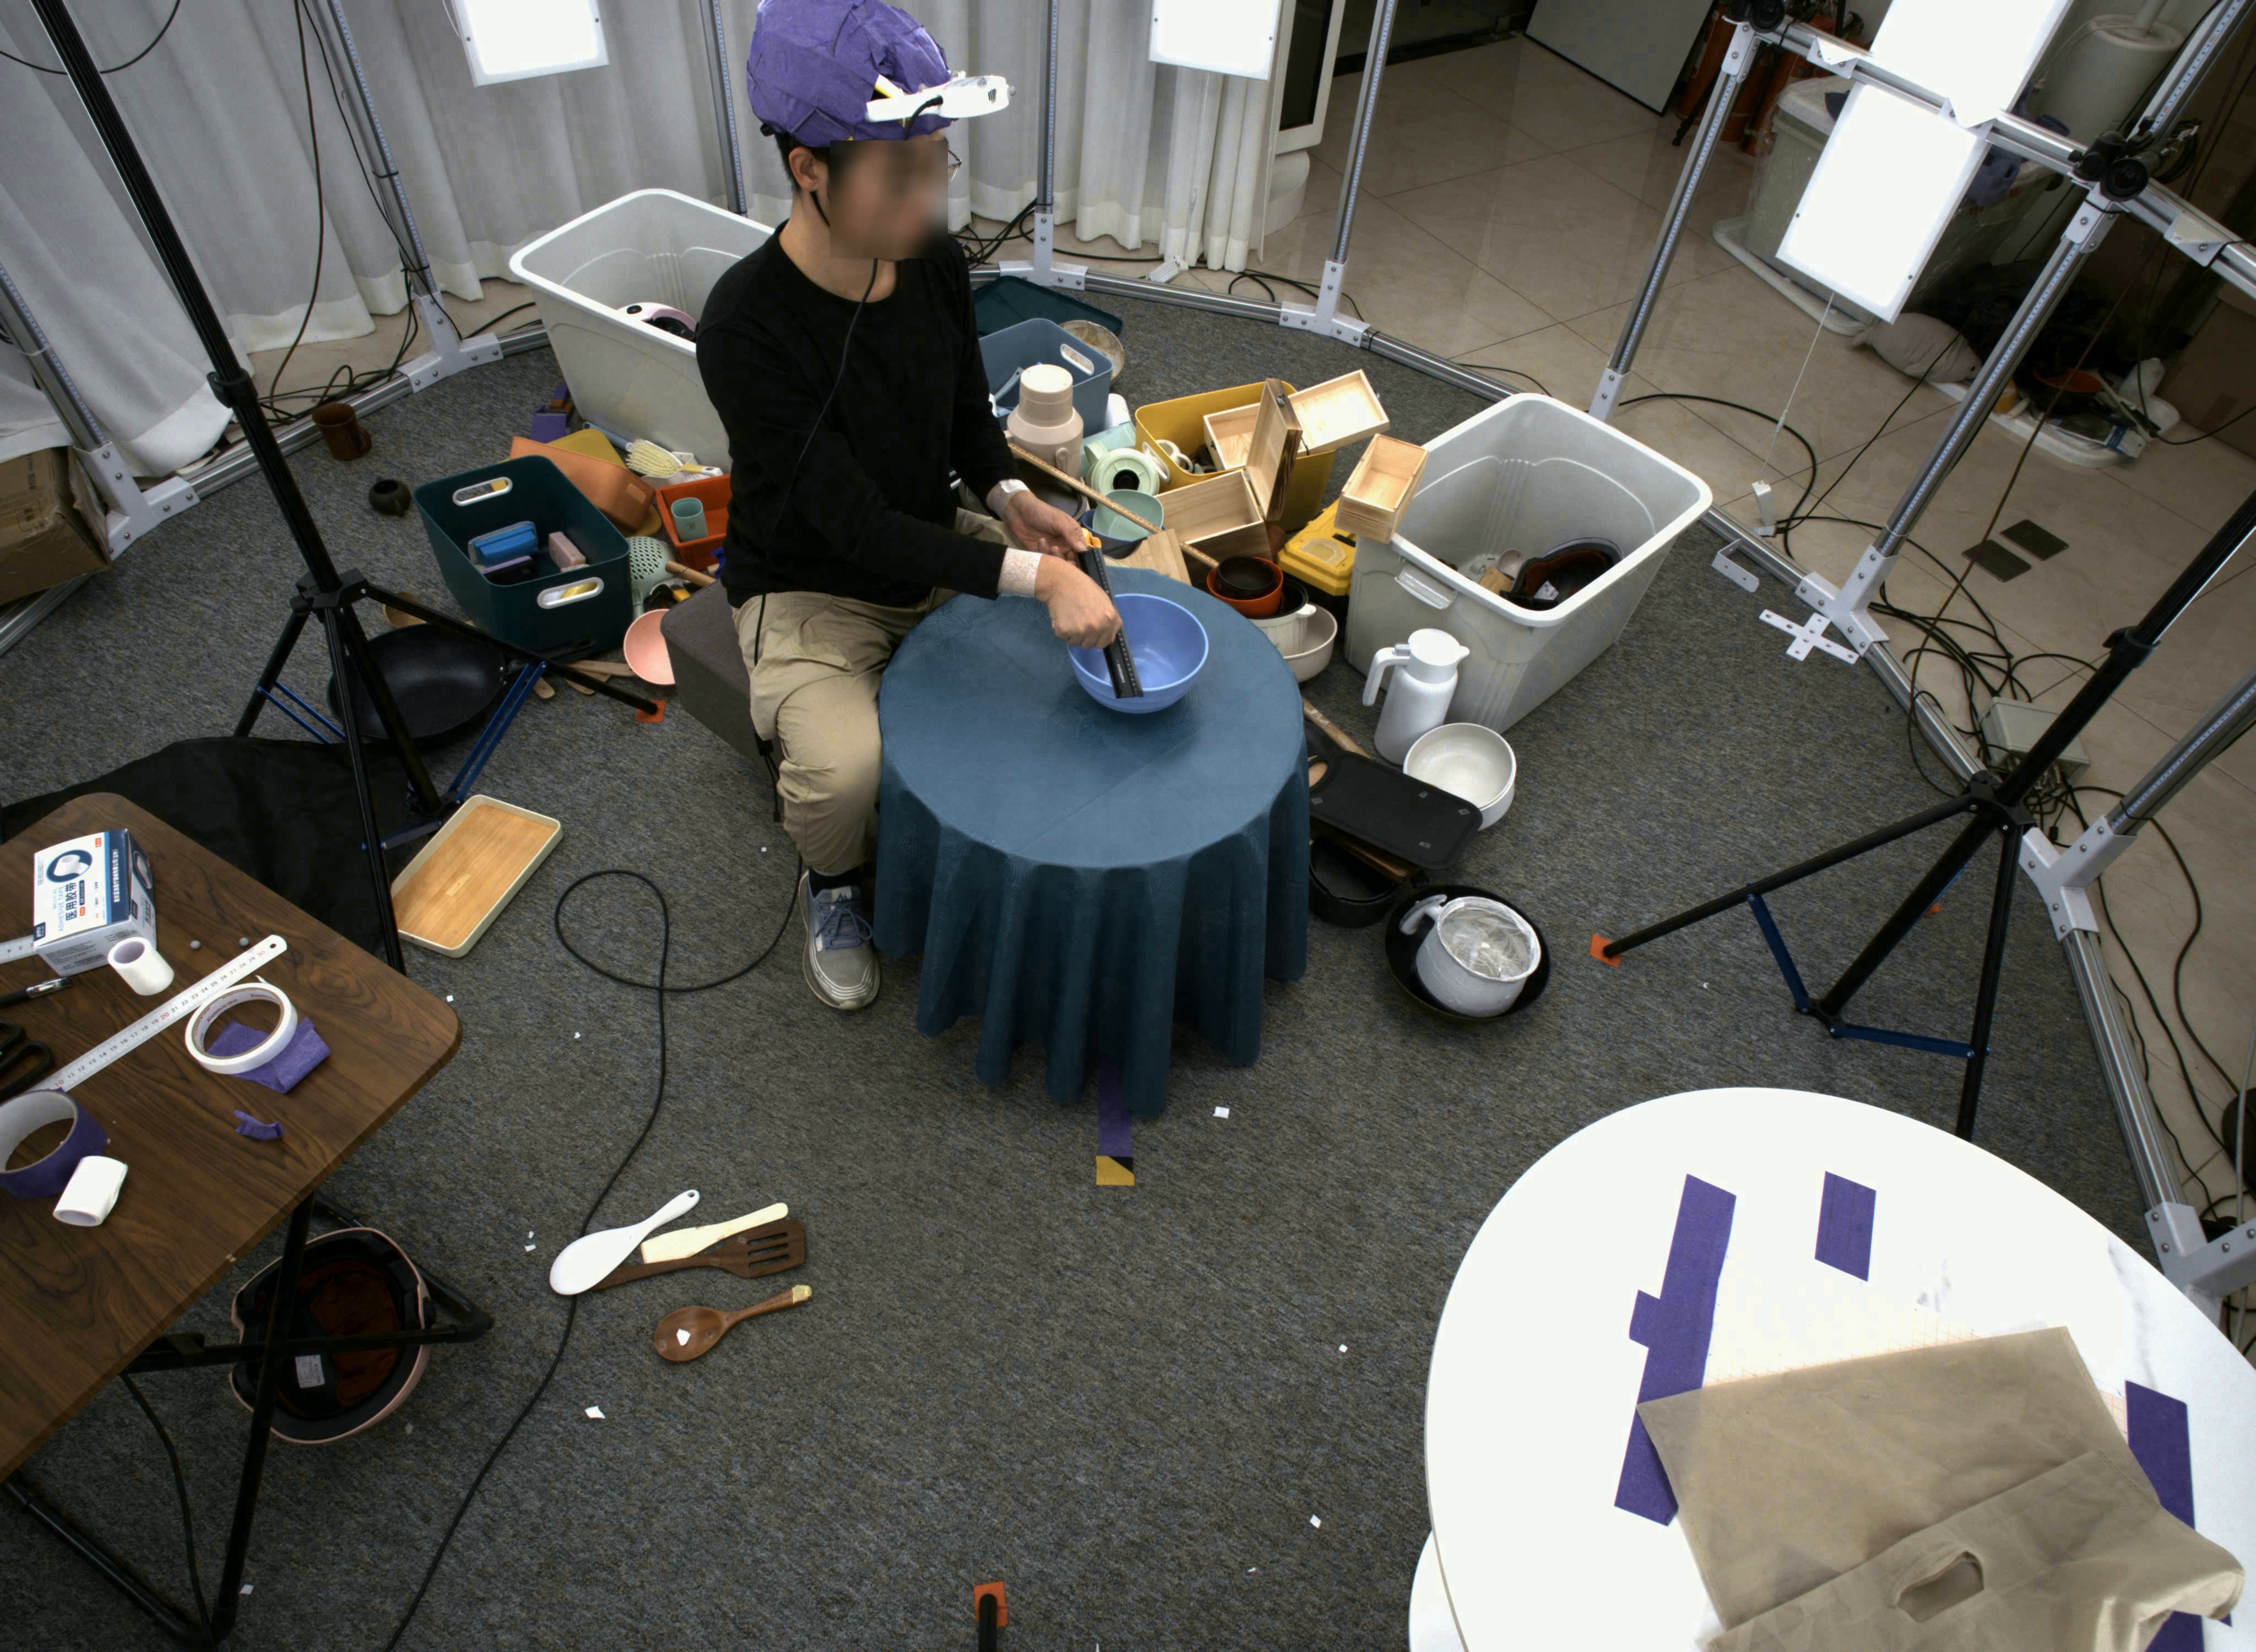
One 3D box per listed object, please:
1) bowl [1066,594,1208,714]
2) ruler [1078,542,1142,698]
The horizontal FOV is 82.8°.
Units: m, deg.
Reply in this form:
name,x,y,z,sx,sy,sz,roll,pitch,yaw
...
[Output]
name,x,y,z,sx,sy,sz,roll,pitch,yaw
bowl,0.010,-0.227,1.806,0.196,0.093,0.201,2,49,-3
ruler,-0.026,-0.293,1.791,0.039,0.017,0.320,-2,49,-14
